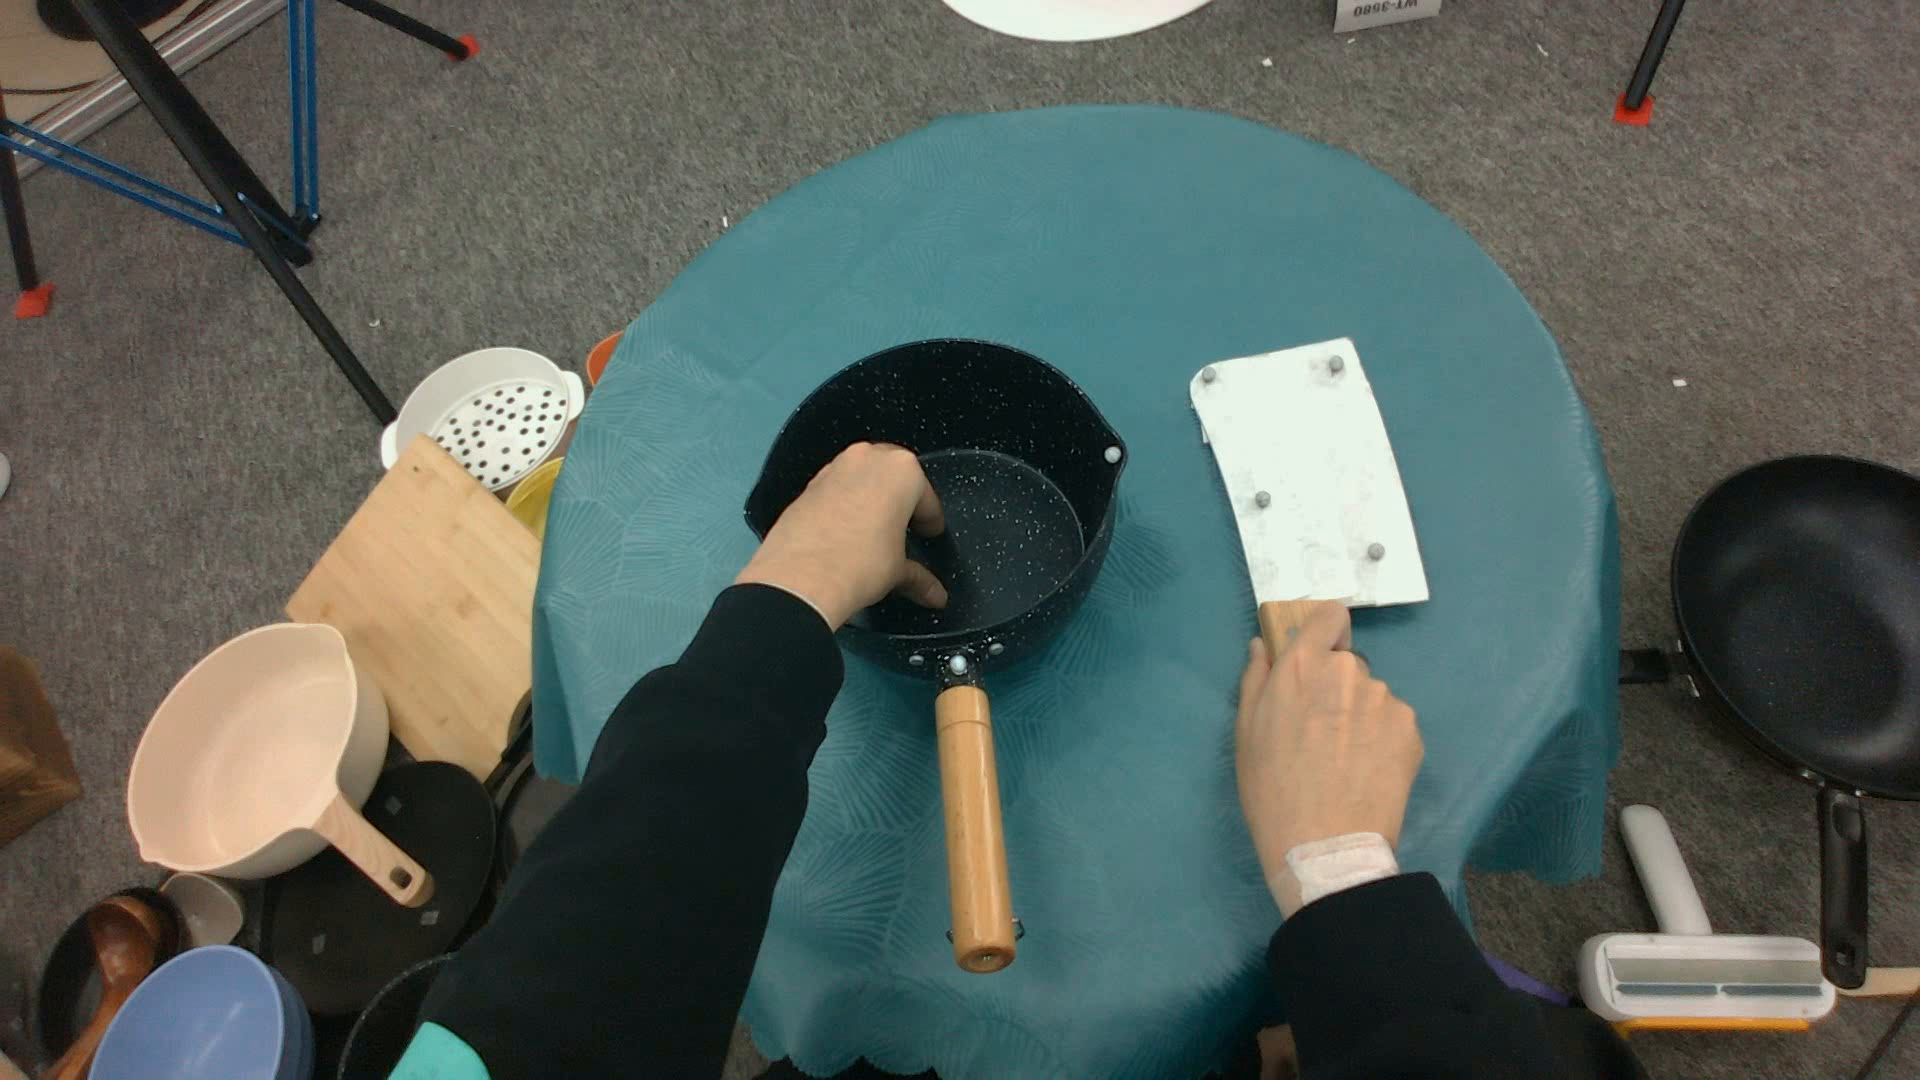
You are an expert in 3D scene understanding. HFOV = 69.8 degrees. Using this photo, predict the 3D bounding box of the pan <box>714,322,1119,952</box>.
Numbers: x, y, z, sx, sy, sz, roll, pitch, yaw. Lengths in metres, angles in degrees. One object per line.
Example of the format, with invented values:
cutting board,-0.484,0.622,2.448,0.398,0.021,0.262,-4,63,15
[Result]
pan,-0.009,0.044,0.683,0.207,0.108,0.344,-11,57,1

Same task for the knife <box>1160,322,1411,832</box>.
knife,0.175,0.004,0.727,0.114,0.021,0.317,-5,54,5
